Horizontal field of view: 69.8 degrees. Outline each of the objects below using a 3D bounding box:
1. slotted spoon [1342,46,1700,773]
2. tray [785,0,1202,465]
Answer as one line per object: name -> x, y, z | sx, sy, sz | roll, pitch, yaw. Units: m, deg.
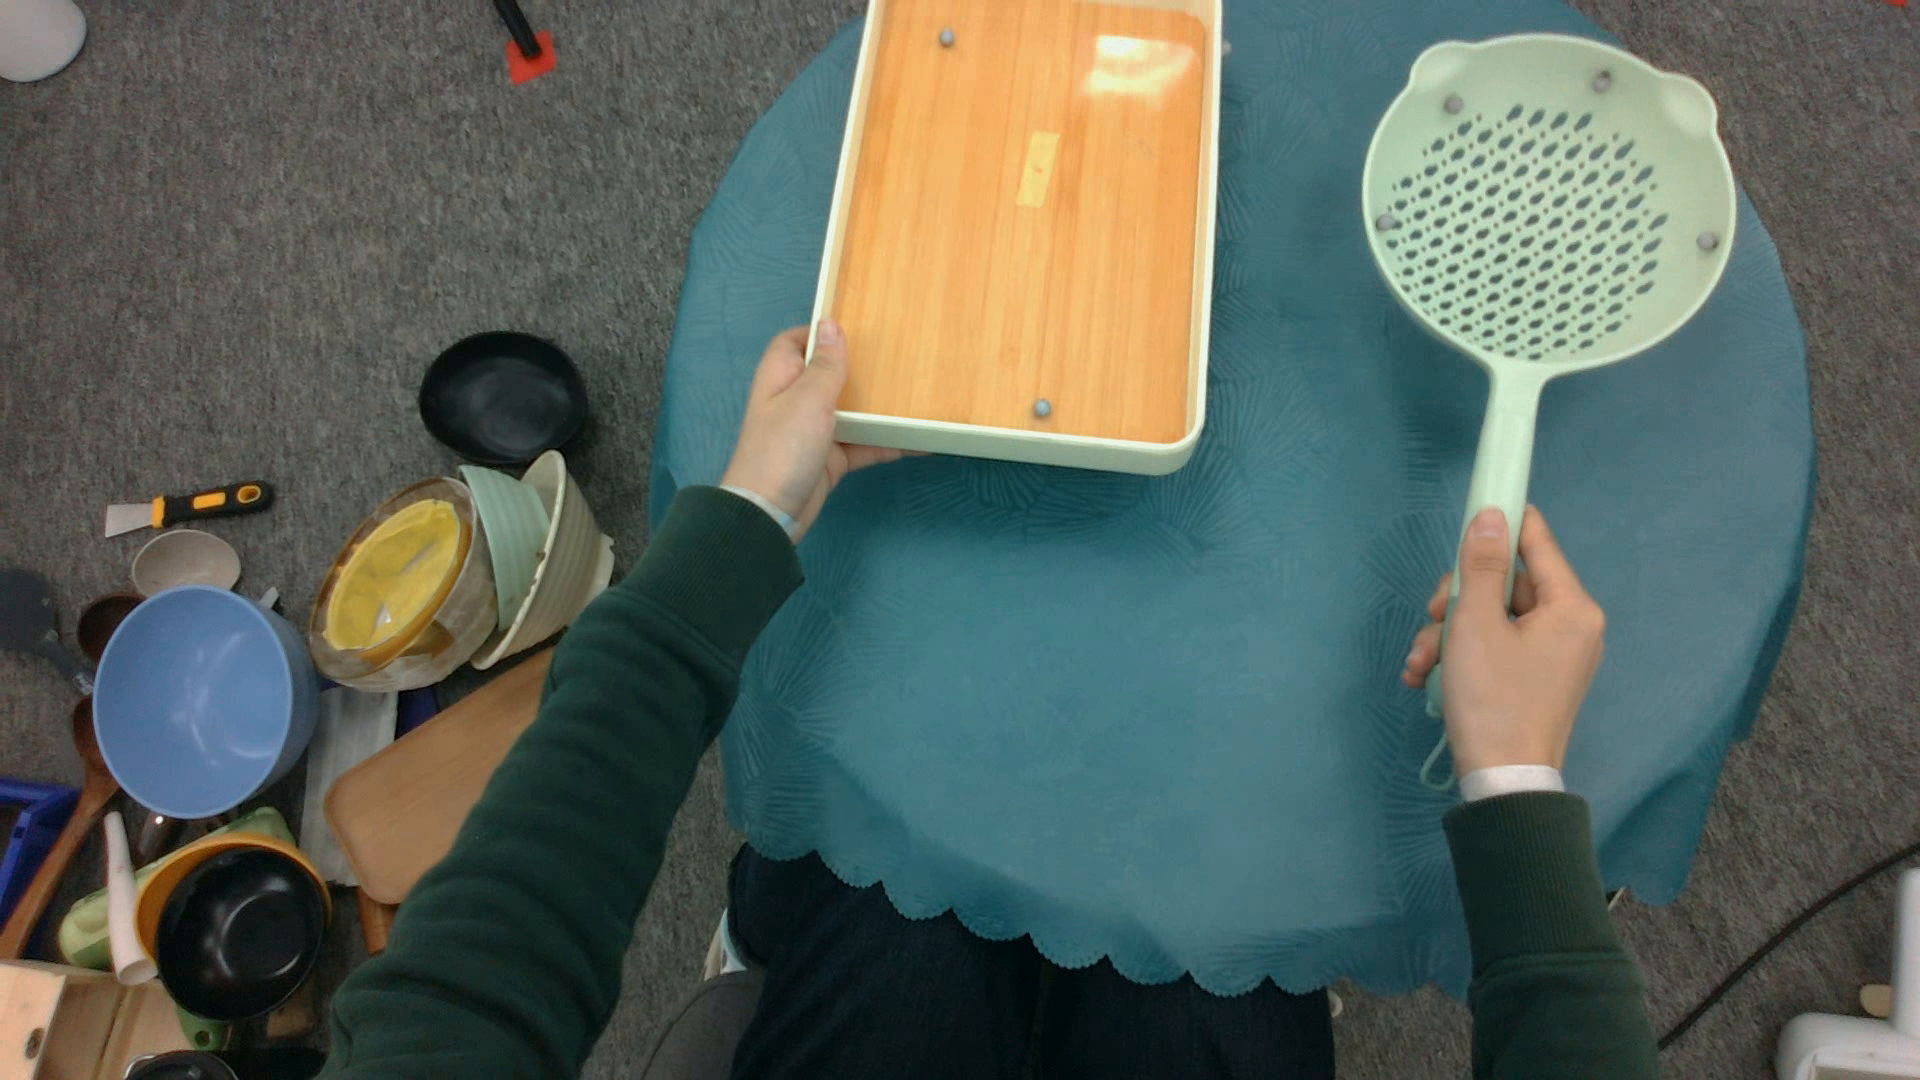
slotted spoon -> 0.247, -0.070, 0.649 | 0.169, 0.075, 0.360 | 12, 67, 8
tray -> 0.026, -0.180, 0.716 | 0.191, 0.027, 0.301 | 6, 63, 2
